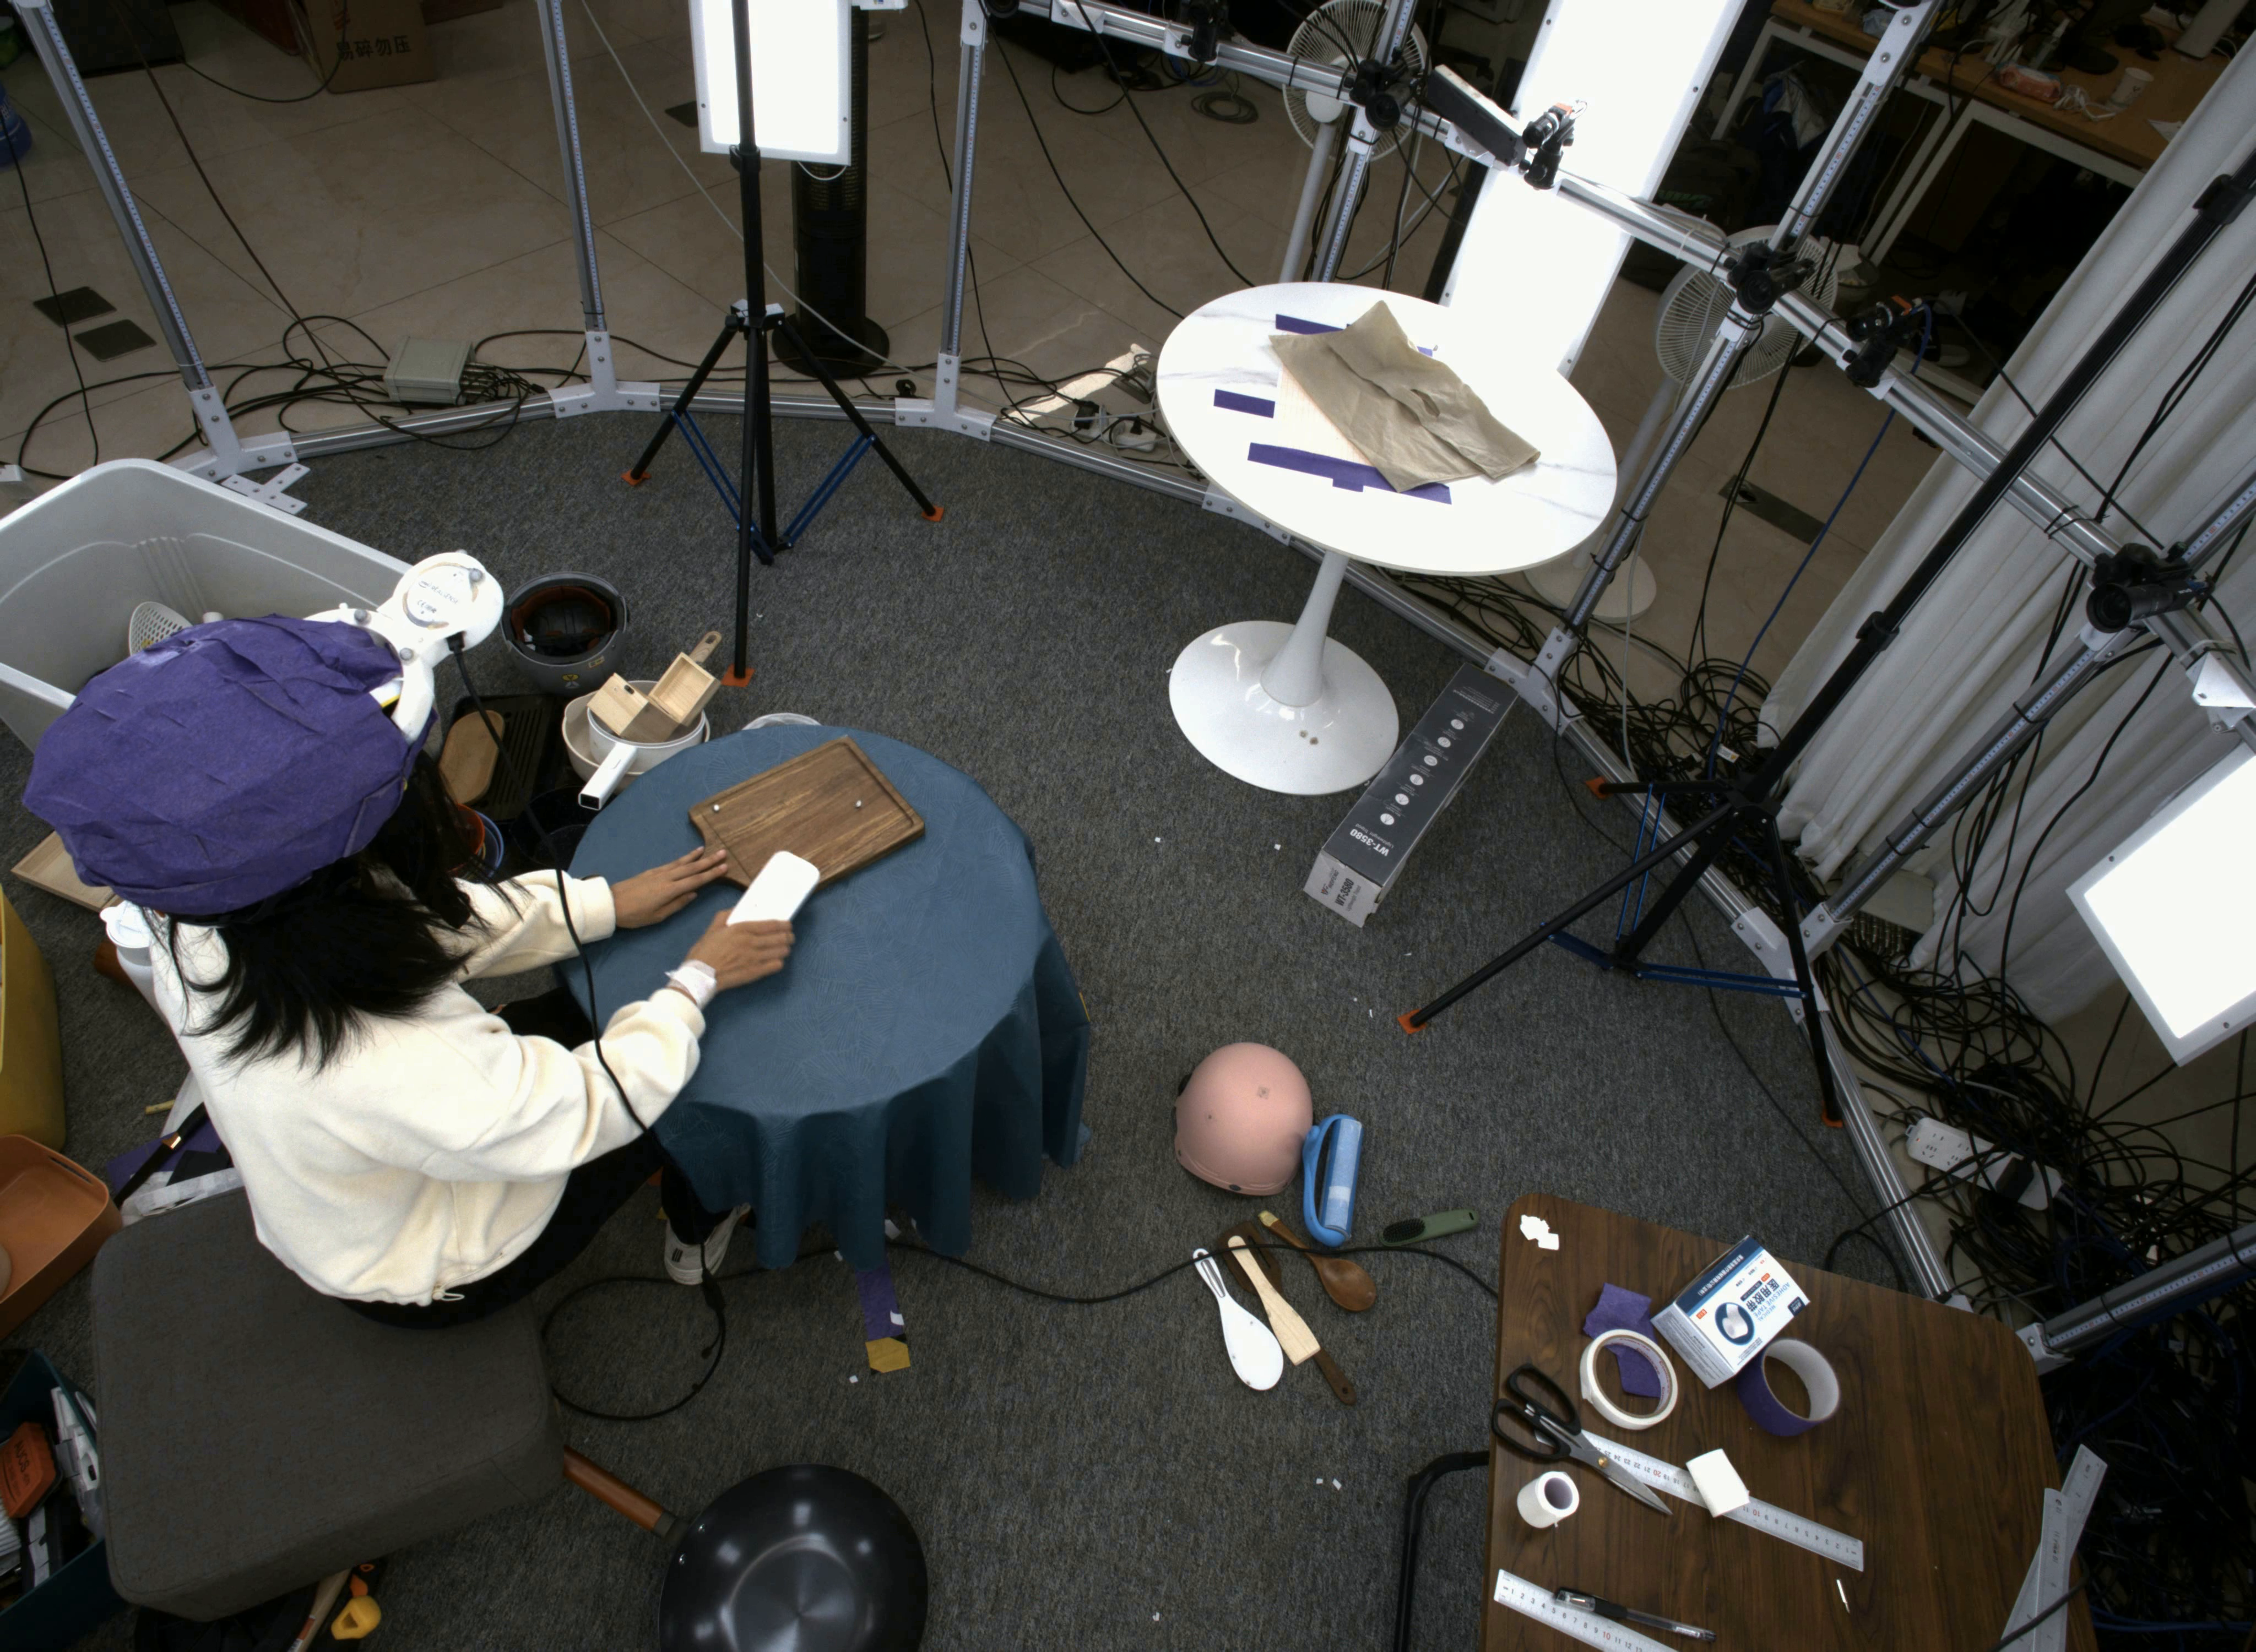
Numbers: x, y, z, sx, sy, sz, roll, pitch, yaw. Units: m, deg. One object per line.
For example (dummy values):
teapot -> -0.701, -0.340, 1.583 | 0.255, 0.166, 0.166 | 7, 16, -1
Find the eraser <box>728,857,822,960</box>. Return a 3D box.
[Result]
eraser -> -0.432, 0.097, 1.583 | 0.063, 0.035, 0.131 | 30, 60, 3

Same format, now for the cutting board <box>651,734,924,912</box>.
cutting board -> -0.461, 0.013, 1.685 | 0.353, 0.023, 0.196 | -31, 66, -32
